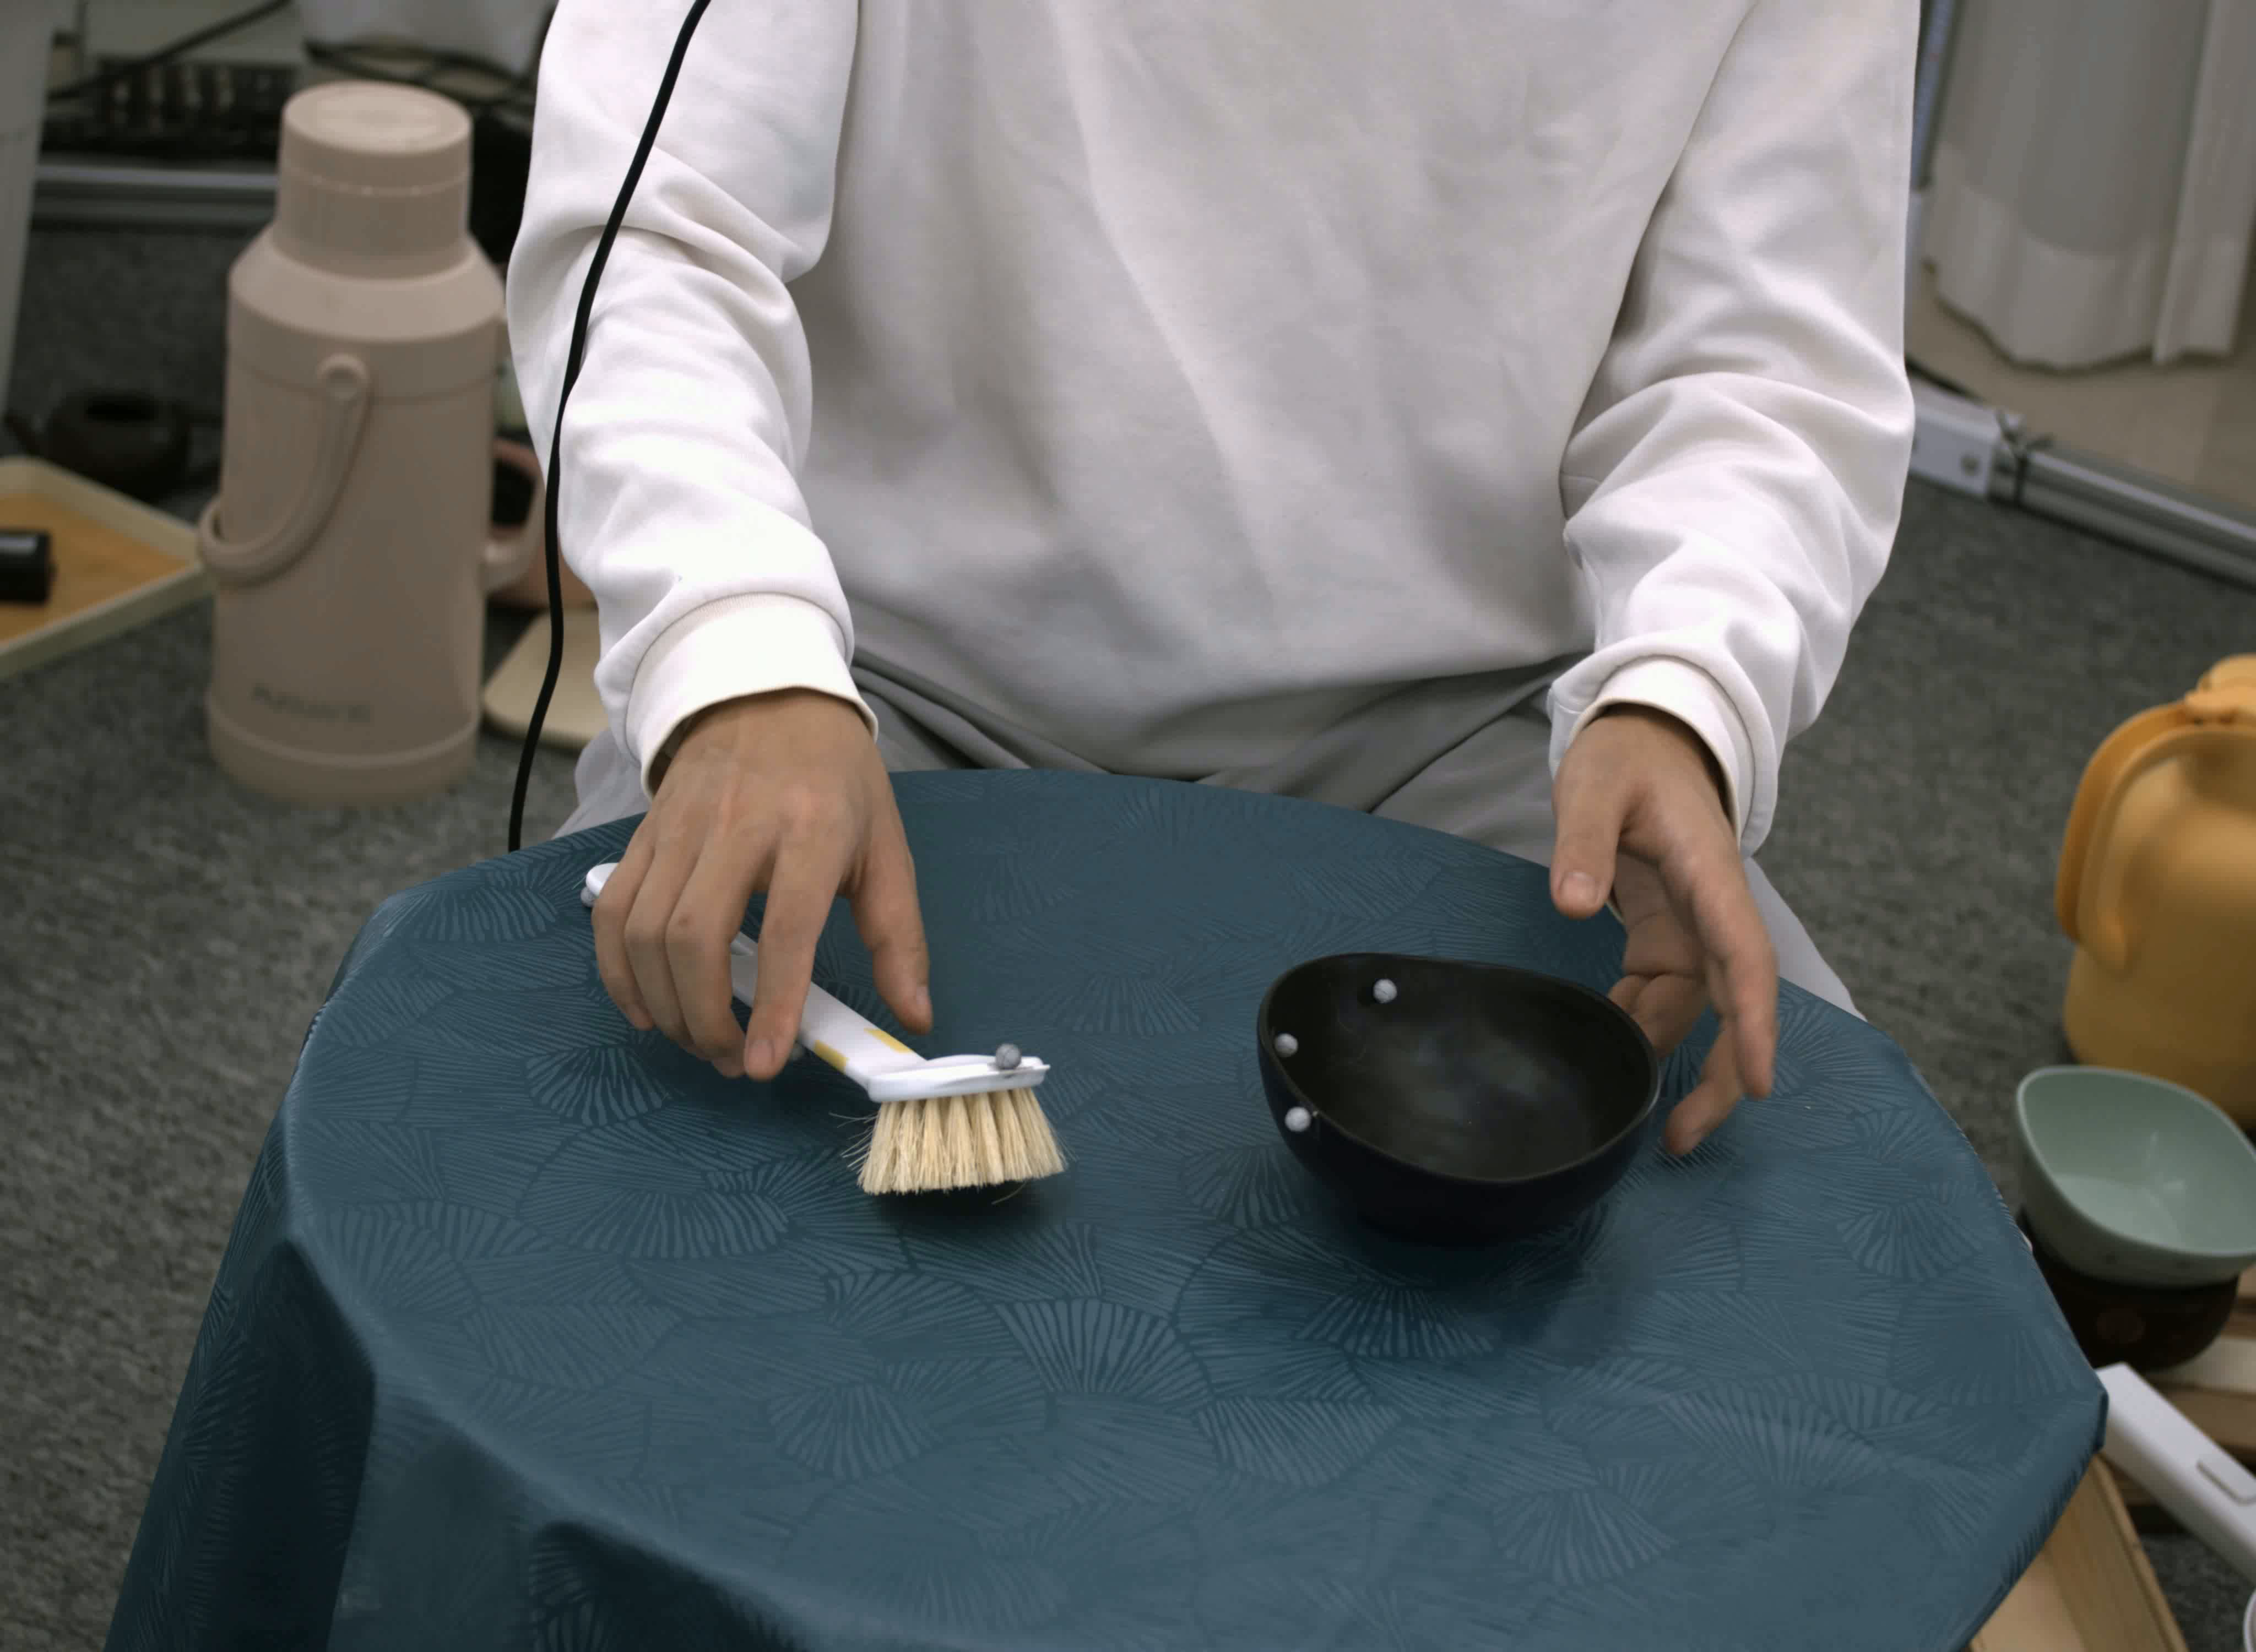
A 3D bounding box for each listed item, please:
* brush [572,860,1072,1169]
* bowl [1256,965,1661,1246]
[{"bbox_3d":[-0.114,0.070,1.856,0.068,0.056,0.268,2,12,-42],"label":"brush"},{"bbox_3d":[0.108,0.100,1.809,0.137,0.066,0.171,6,23,-3],"label":"bowl"}]
